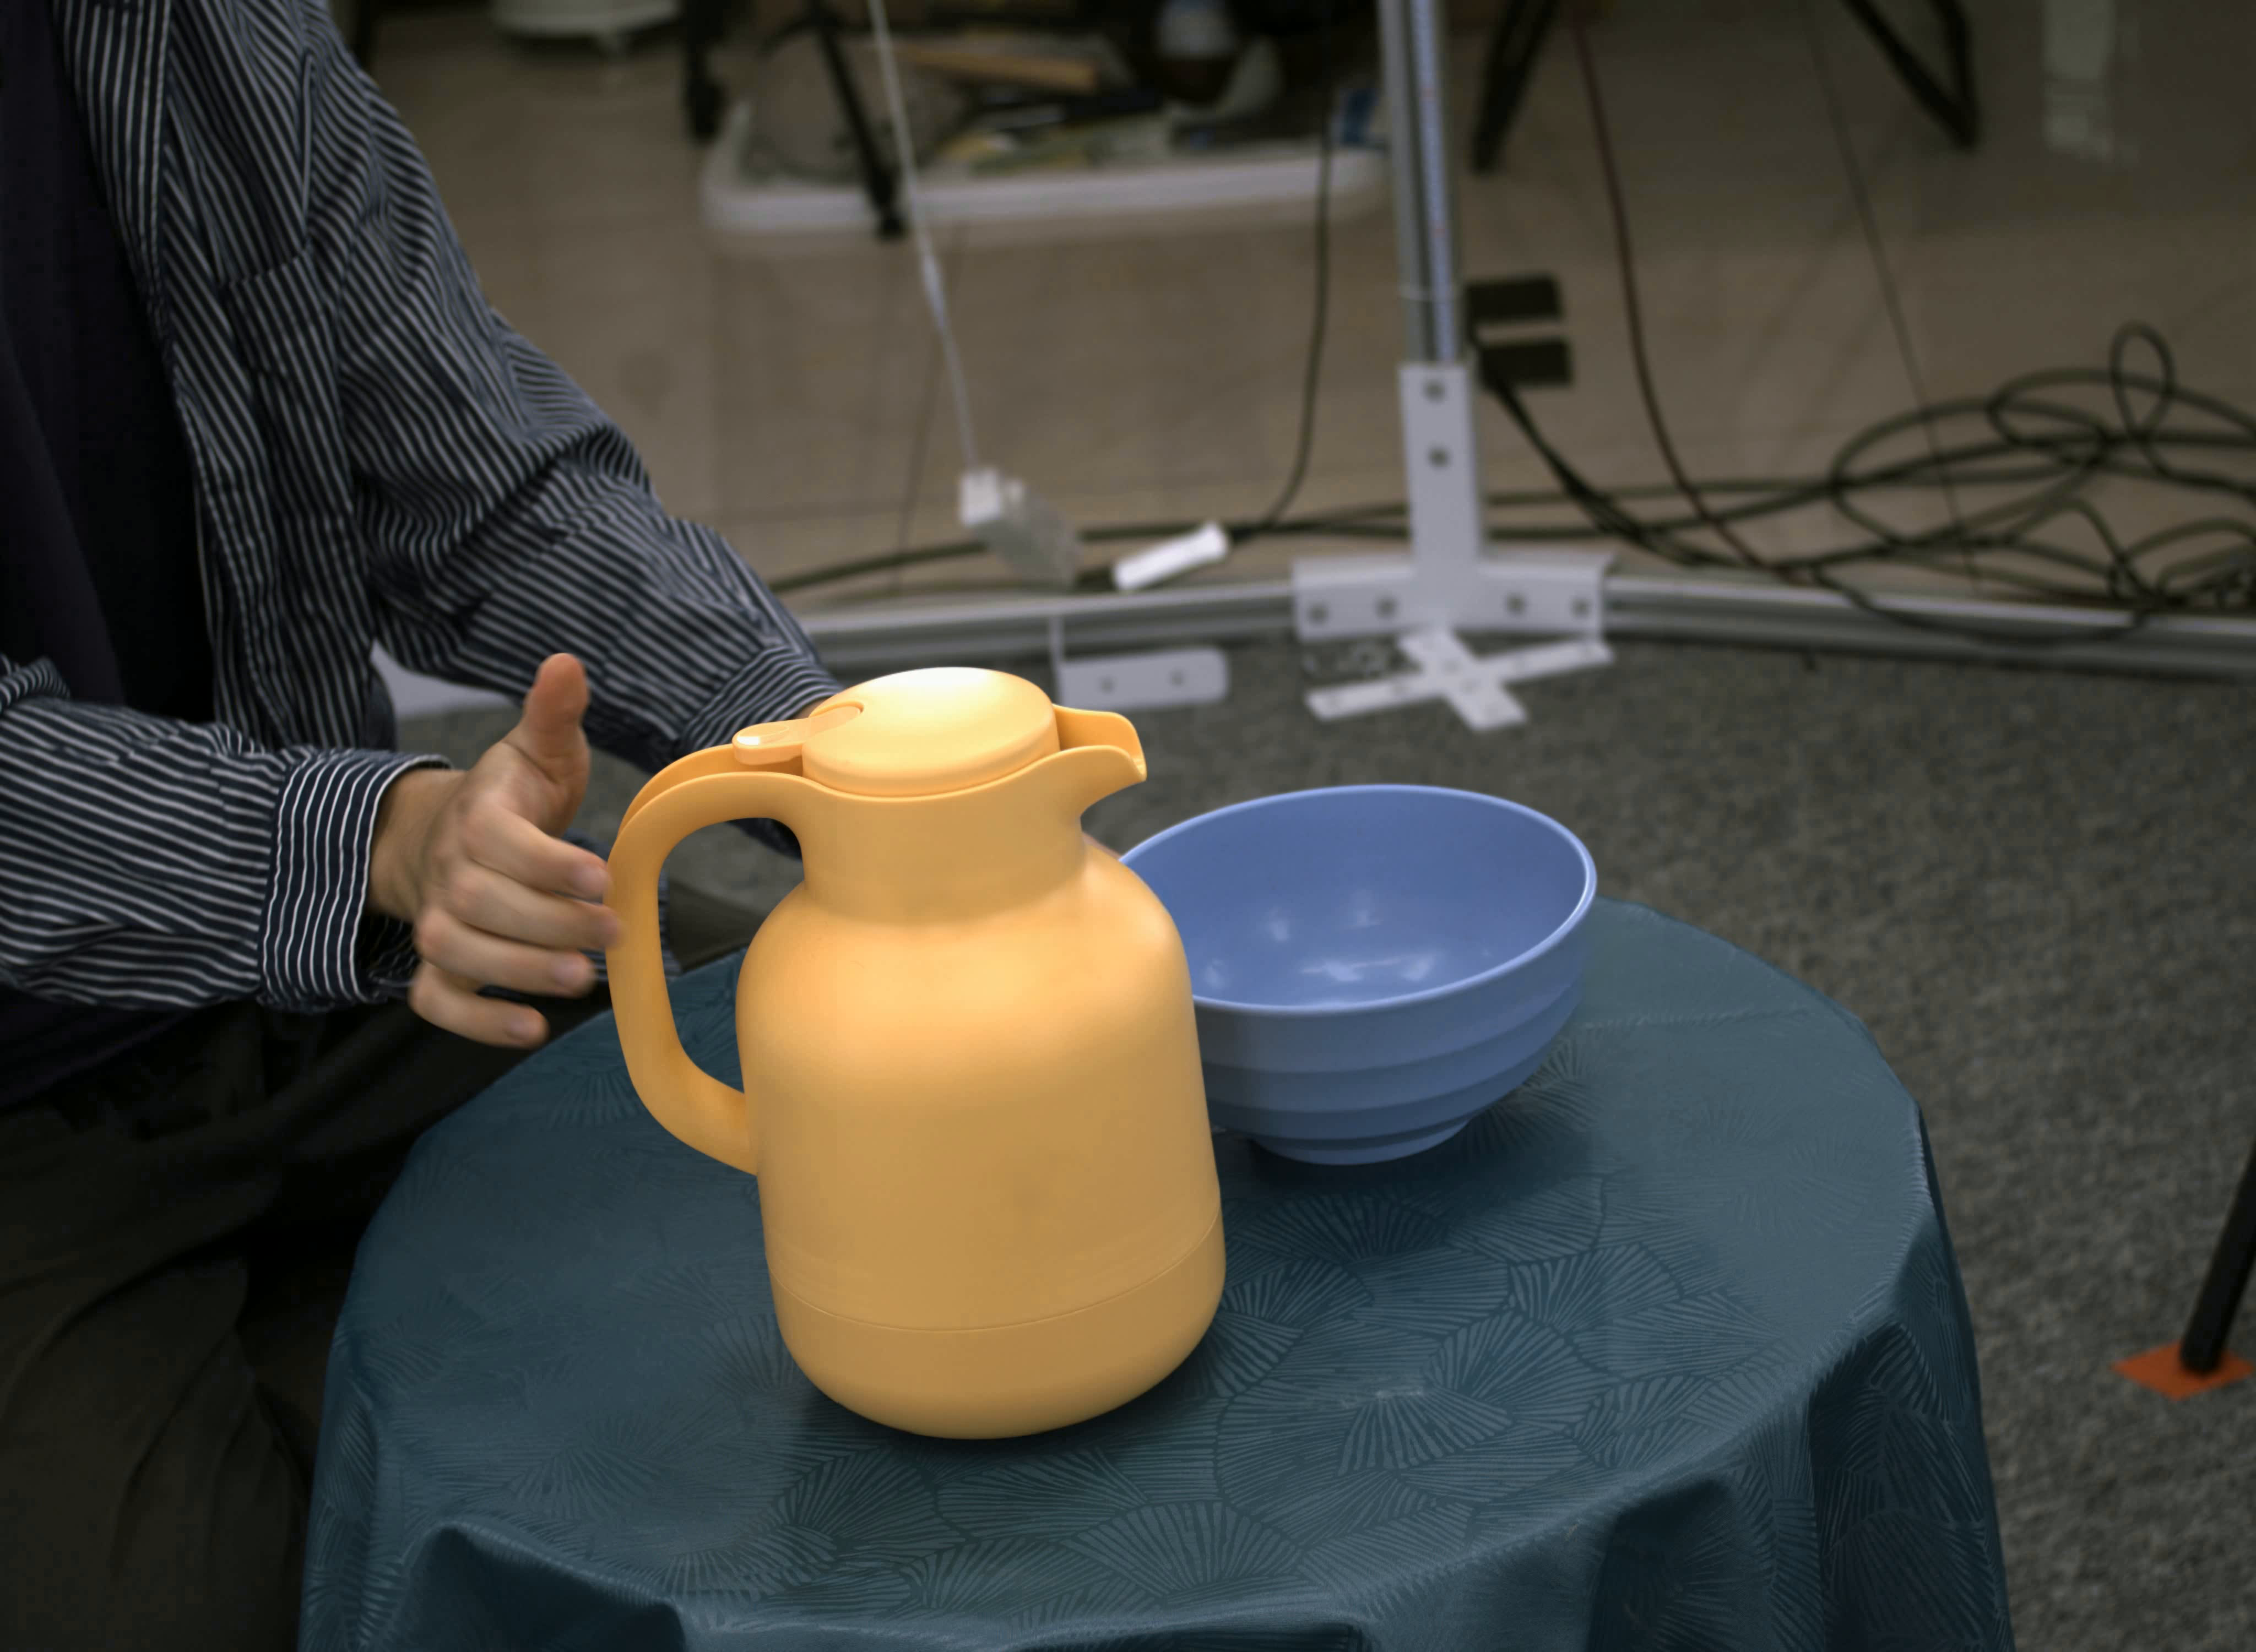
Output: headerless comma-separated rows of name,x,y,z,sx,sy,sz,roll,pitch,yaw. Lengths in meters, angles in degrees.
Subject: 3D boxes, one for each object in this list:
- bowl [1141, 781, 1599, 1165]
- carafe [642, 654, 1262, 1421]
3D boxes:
bowl,0.085,0.067,2.171,0.196,0.097,0.193,-5,26,3
carafe,-0.063,0.071,2.002,0.202,0.265,0.161,-5,26,6
